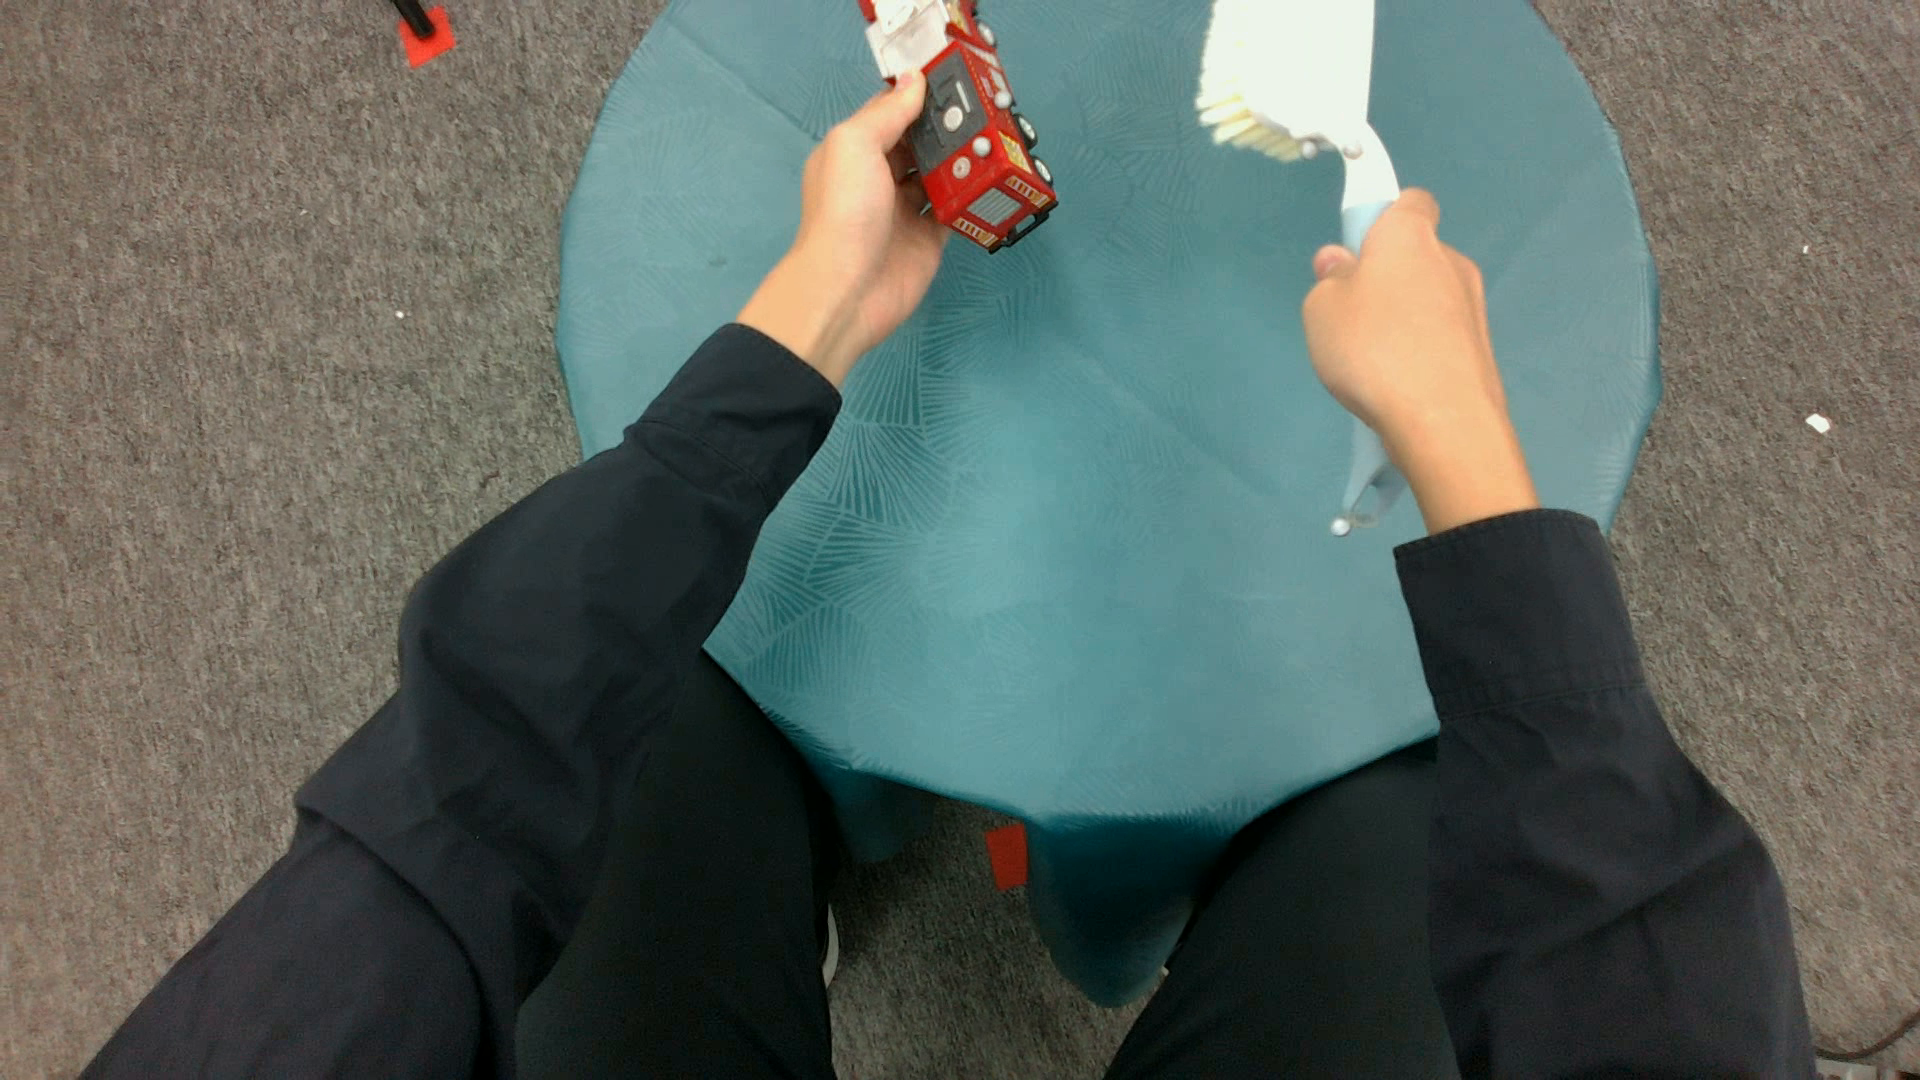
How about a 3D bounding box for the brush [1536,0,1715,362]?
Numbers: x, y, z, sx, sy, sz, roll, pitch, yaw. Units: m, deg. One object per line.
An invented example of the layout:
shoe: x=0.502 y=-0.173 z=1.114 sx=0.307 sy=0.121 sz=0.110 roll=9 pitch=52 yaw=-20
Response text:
brush: x=0.264 y=-0.227 z=0.569 sx=0.083 sy=0.084 sz=0.325 roll=17 pitch=85 yaw=13
